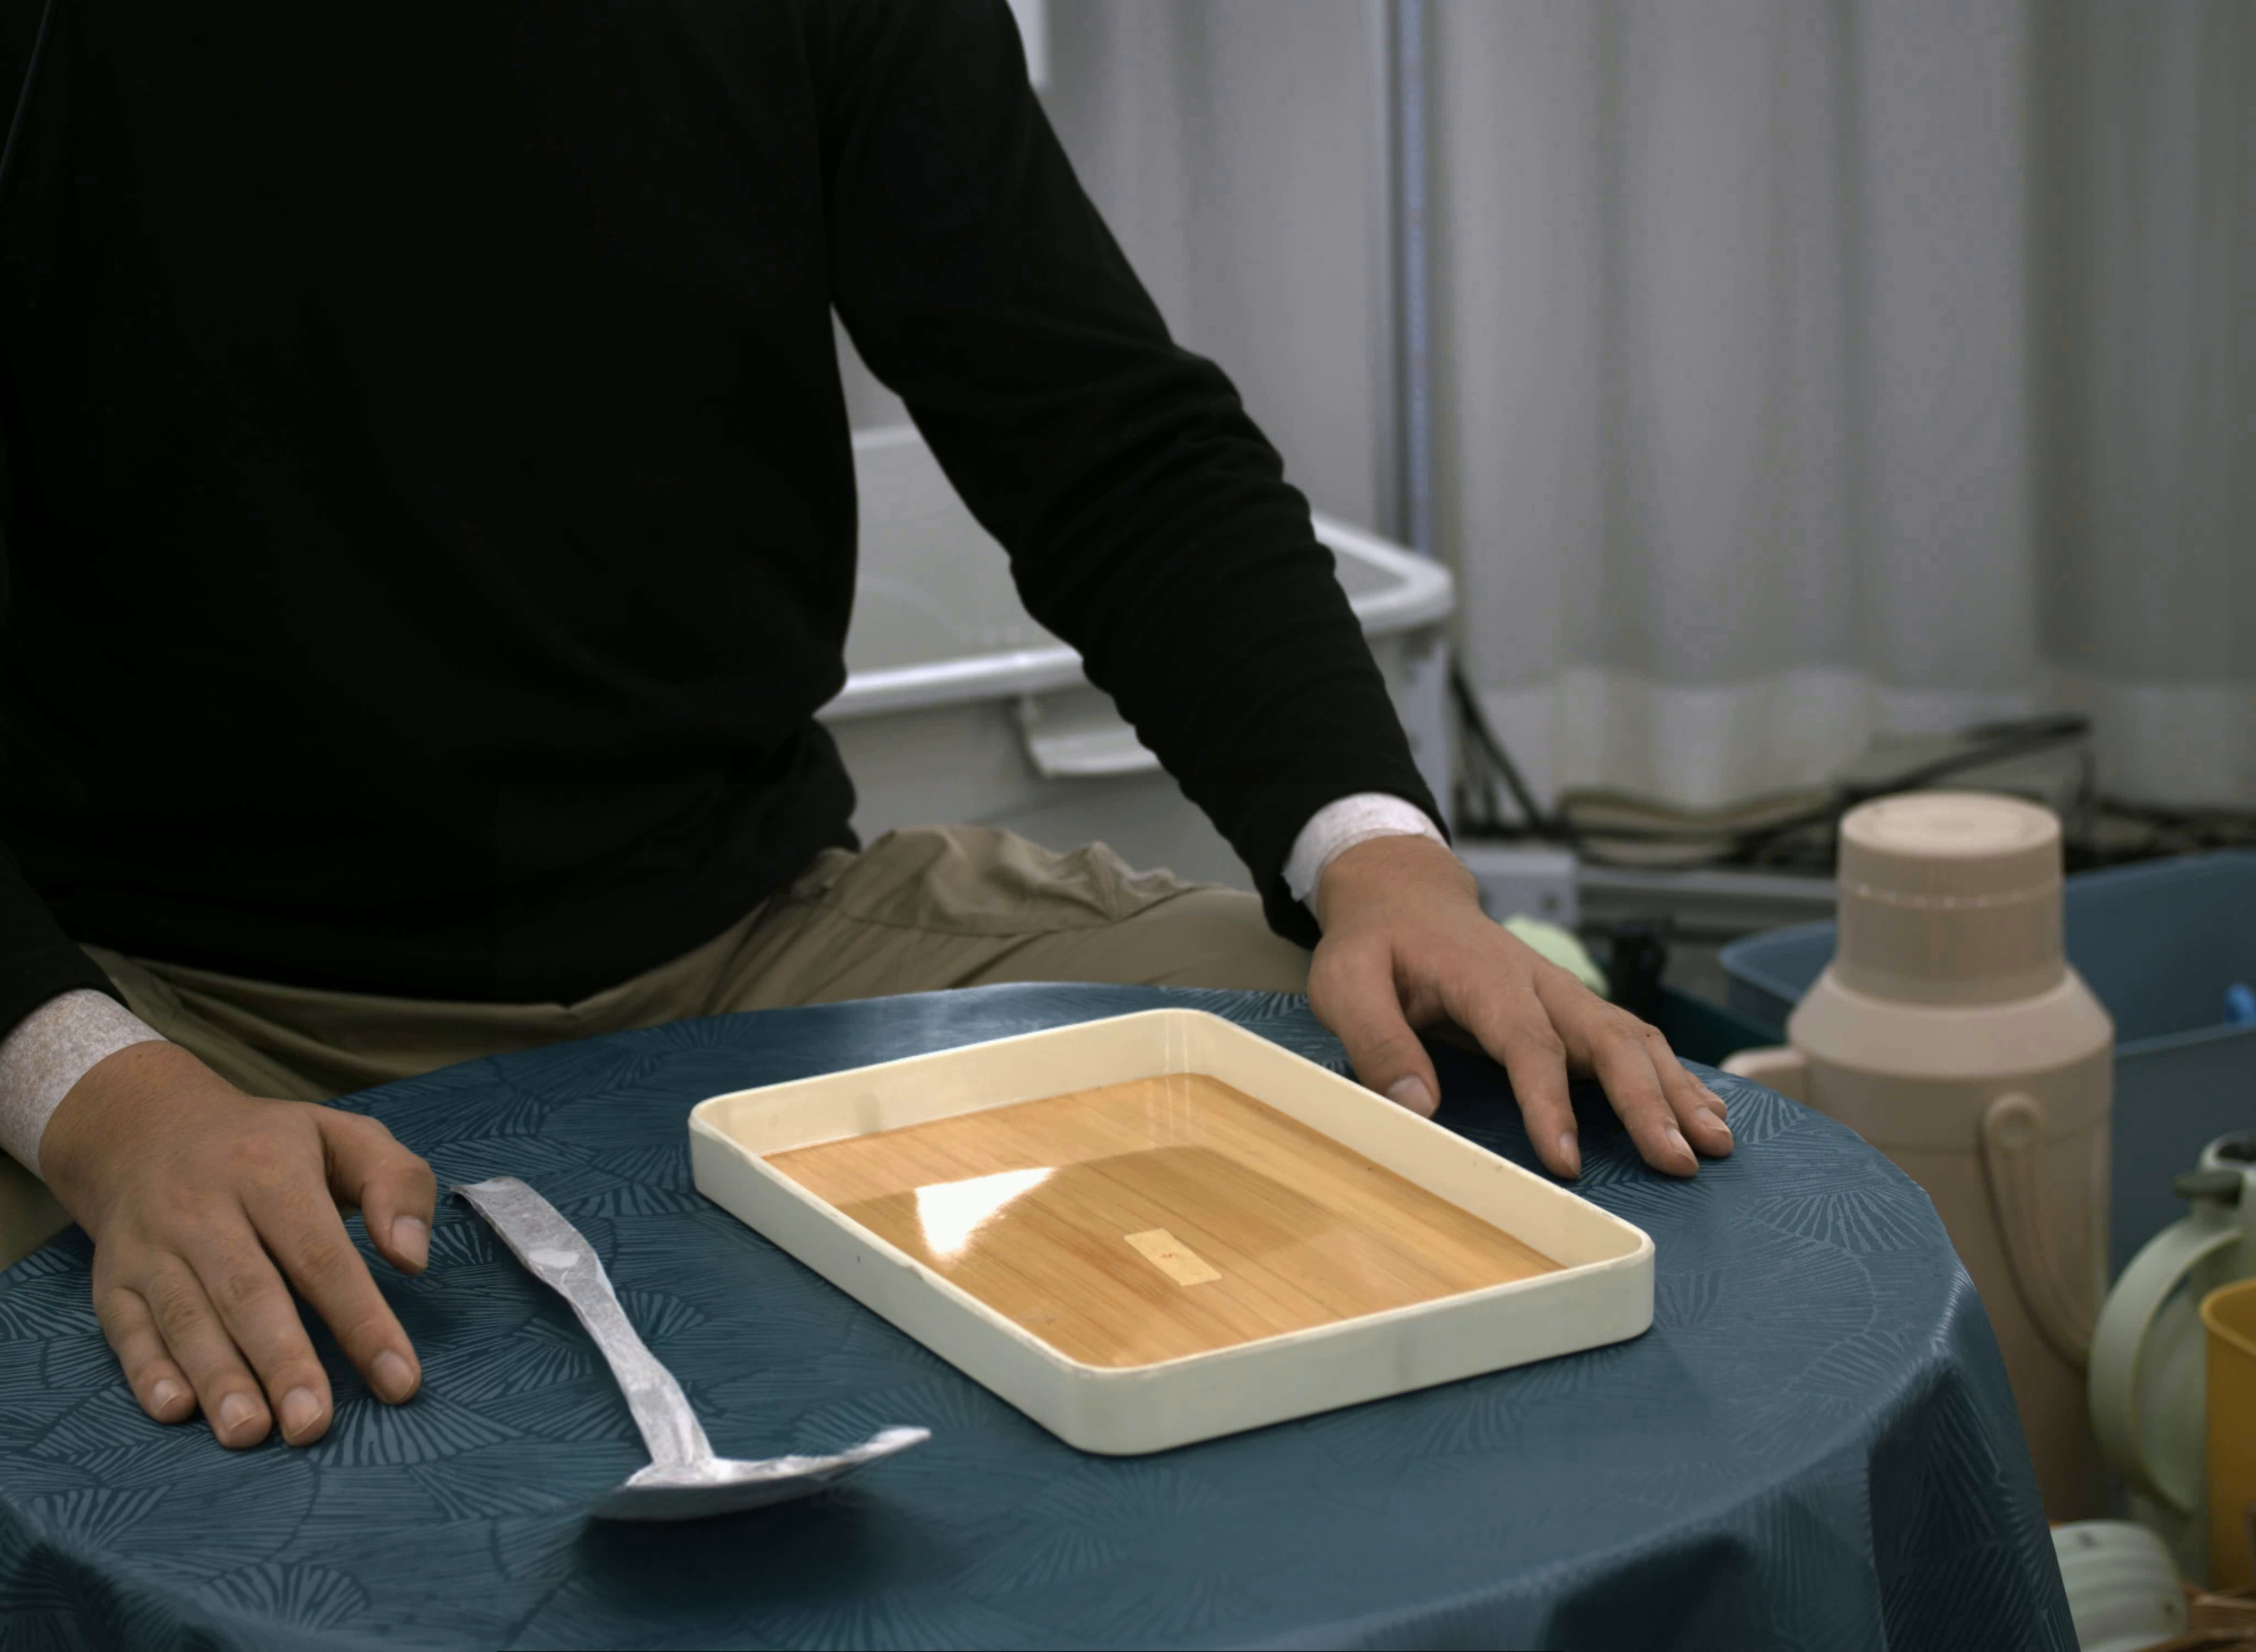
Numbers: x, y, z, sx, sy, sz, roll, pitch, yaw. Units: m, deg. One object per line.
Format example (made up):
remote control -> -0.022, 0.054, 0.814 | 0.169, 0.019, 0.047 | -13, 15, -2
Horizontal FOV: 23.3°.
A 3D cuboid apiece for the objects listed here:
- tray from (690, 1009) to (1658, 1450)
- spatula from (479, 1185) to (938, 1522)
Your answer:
tray -> 0.007, 0.117, 1.652 | 0.191, 0.027, 0.302 | -10, 16, -25
spatula -> -0.145, 0.142, 1.567 | 0.098, 0.044, 0.368 | -8, 16, -17
